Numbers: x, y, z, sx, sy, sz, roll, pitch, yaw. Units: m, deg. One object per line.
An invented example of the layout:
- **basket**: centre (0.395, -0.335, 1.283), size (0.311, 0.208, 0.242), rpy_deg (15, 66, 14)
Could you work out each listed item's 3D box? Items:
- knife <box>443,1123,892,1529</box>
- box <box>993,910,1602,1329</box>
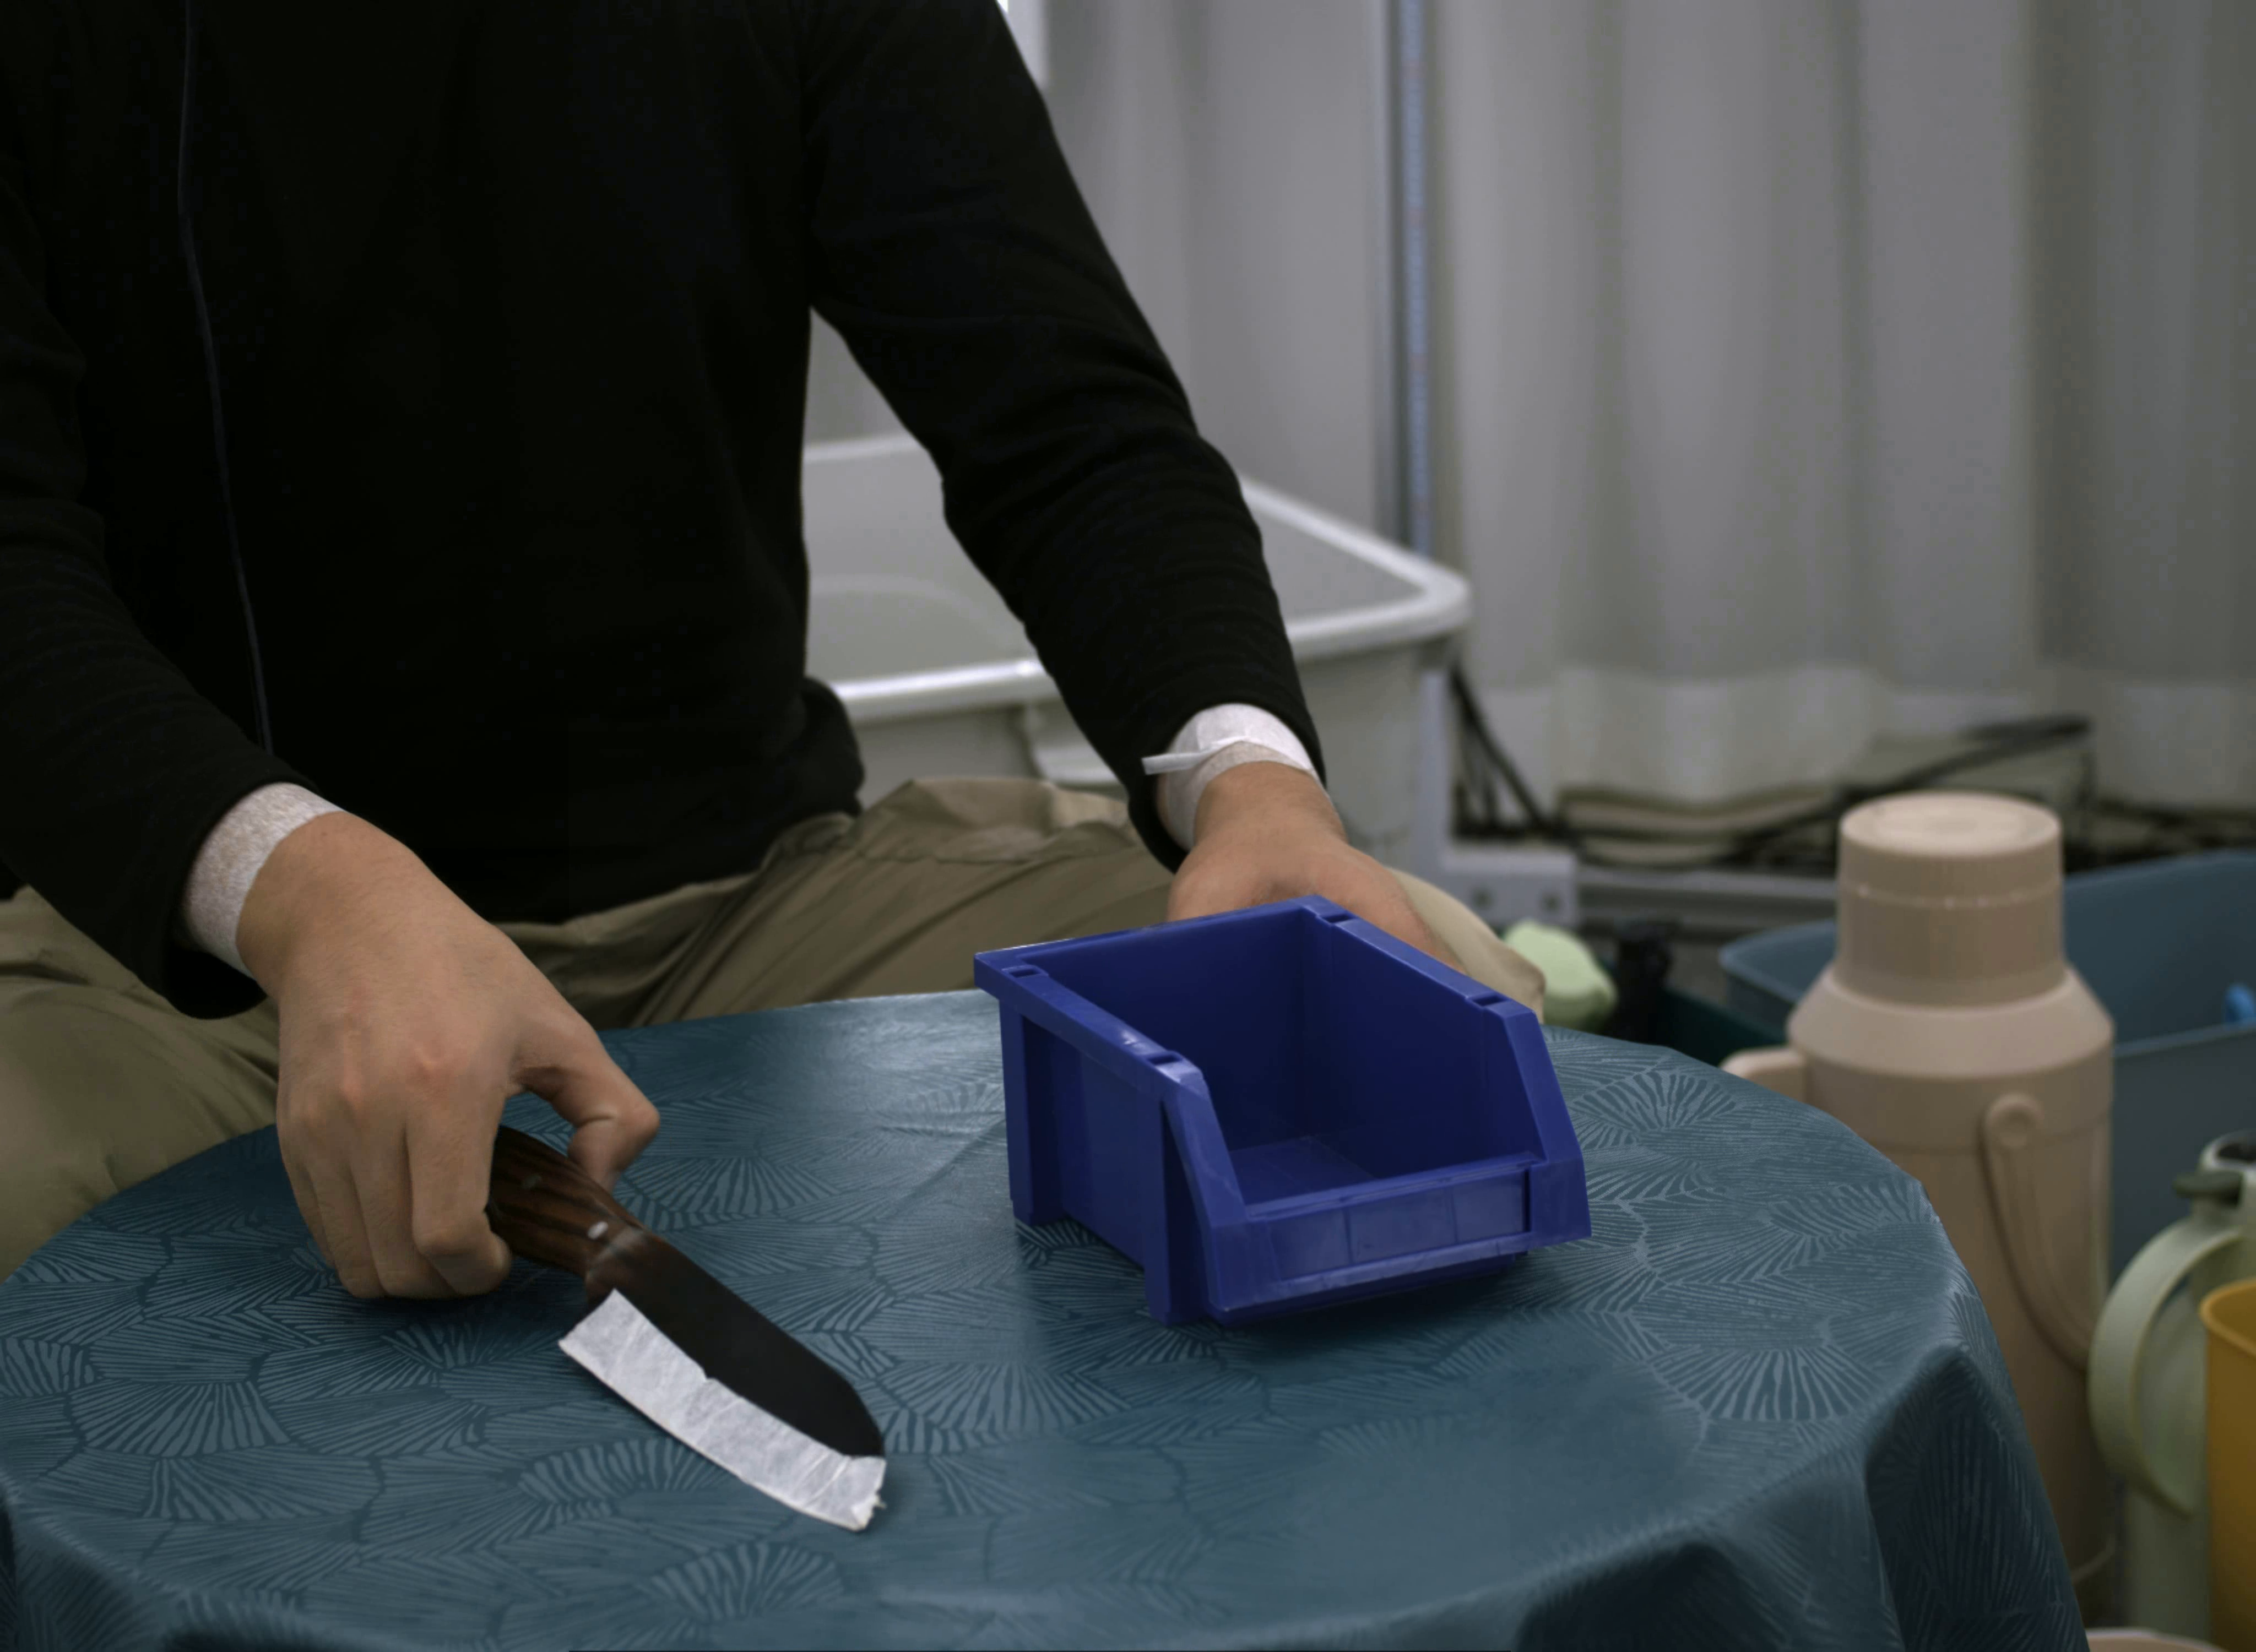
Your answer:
- **knife**: centre (-0.135, 0.142, 1.571), size (0.050, 0.020, 0.292), rpy_deg (-41, 32, -11)
- **box**: centre (0.050, 0.090, 1.641), size (0.124, 0.081, 0.180), rpy_deg (-8, 13, -21)
